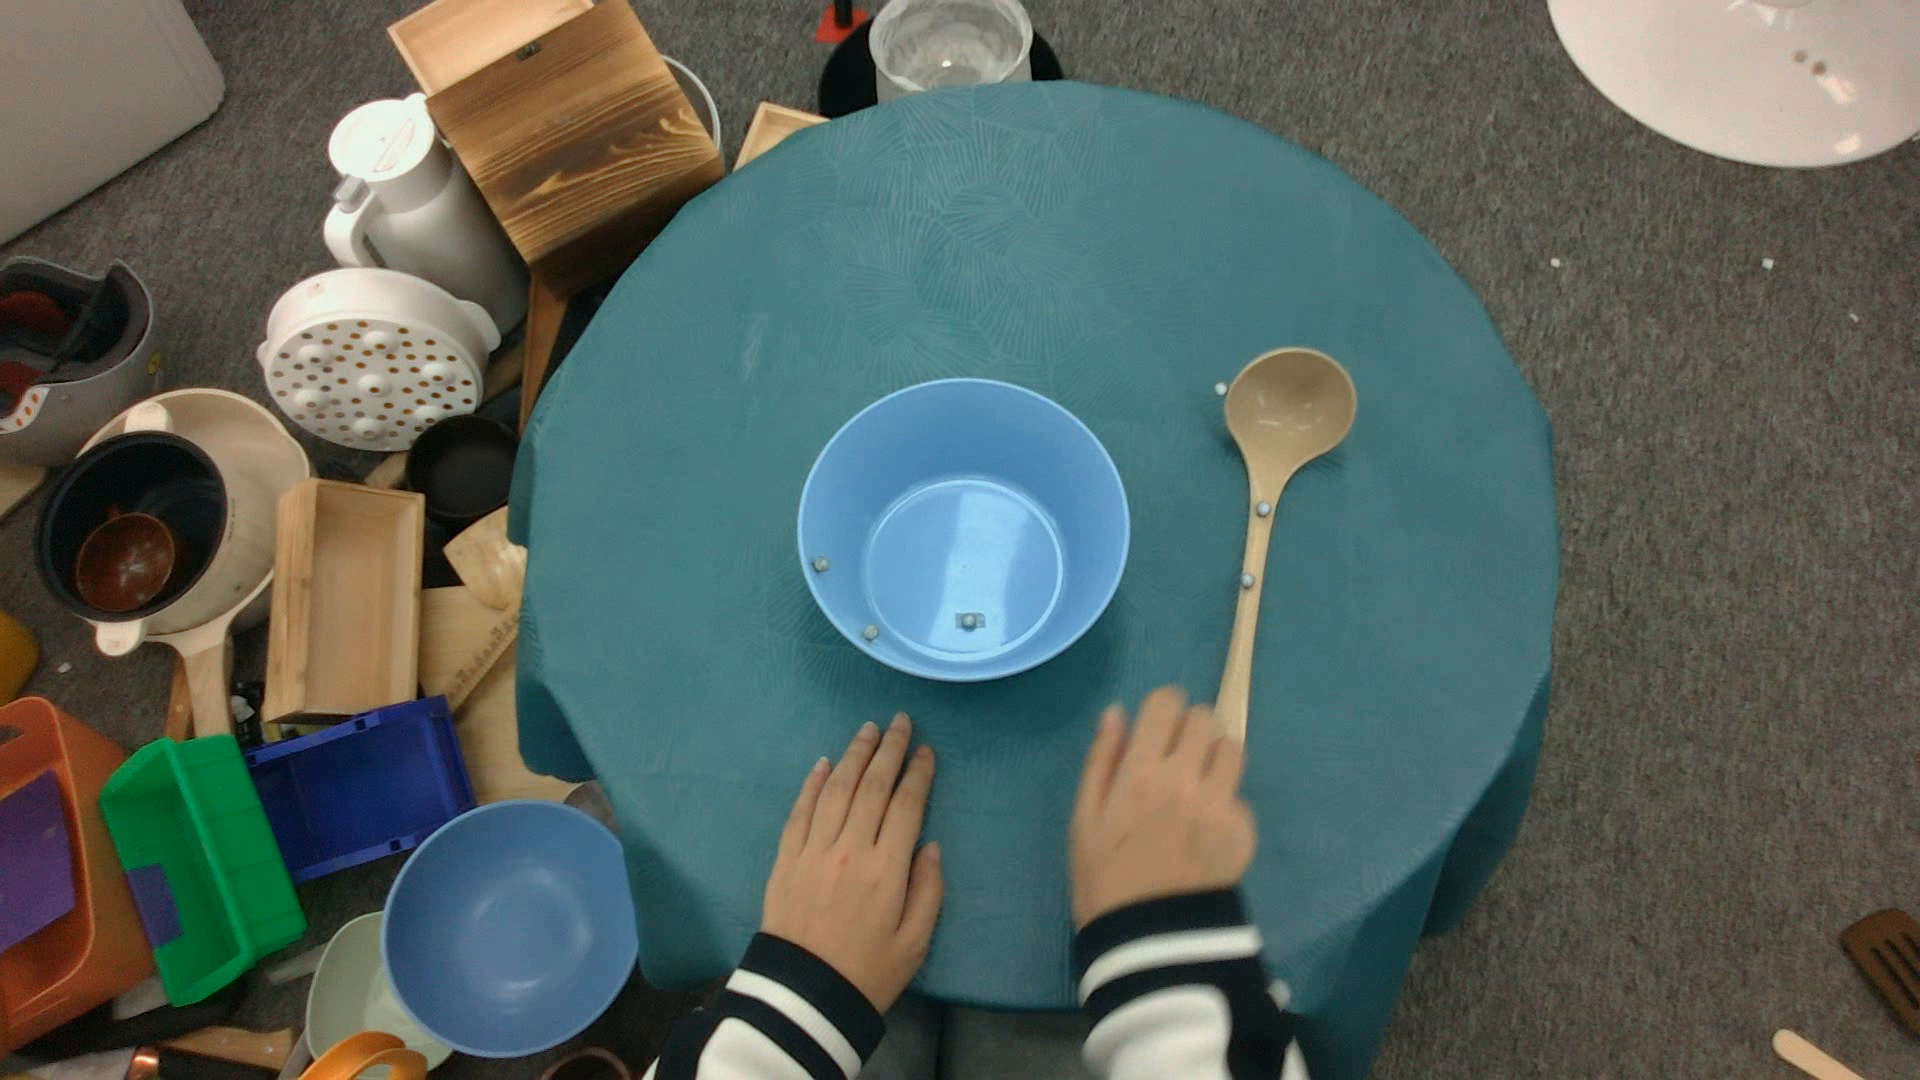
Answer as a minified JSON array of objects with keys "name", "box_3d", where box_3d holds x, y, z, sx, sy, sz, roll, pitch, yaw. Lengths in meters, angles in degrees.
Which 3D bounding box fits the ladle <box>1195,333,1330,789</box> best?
[{"name":"ladle","box_3d":[0.157,0.004,0.749,0.072,0.072,0.255,11,66,2]}]

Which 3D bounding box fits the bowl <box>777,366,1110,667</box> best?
[{"name":"bowl","box_3d":[-0.008,-0.004,0.753,0.176,0.070,0.176,0,65,0]}]
